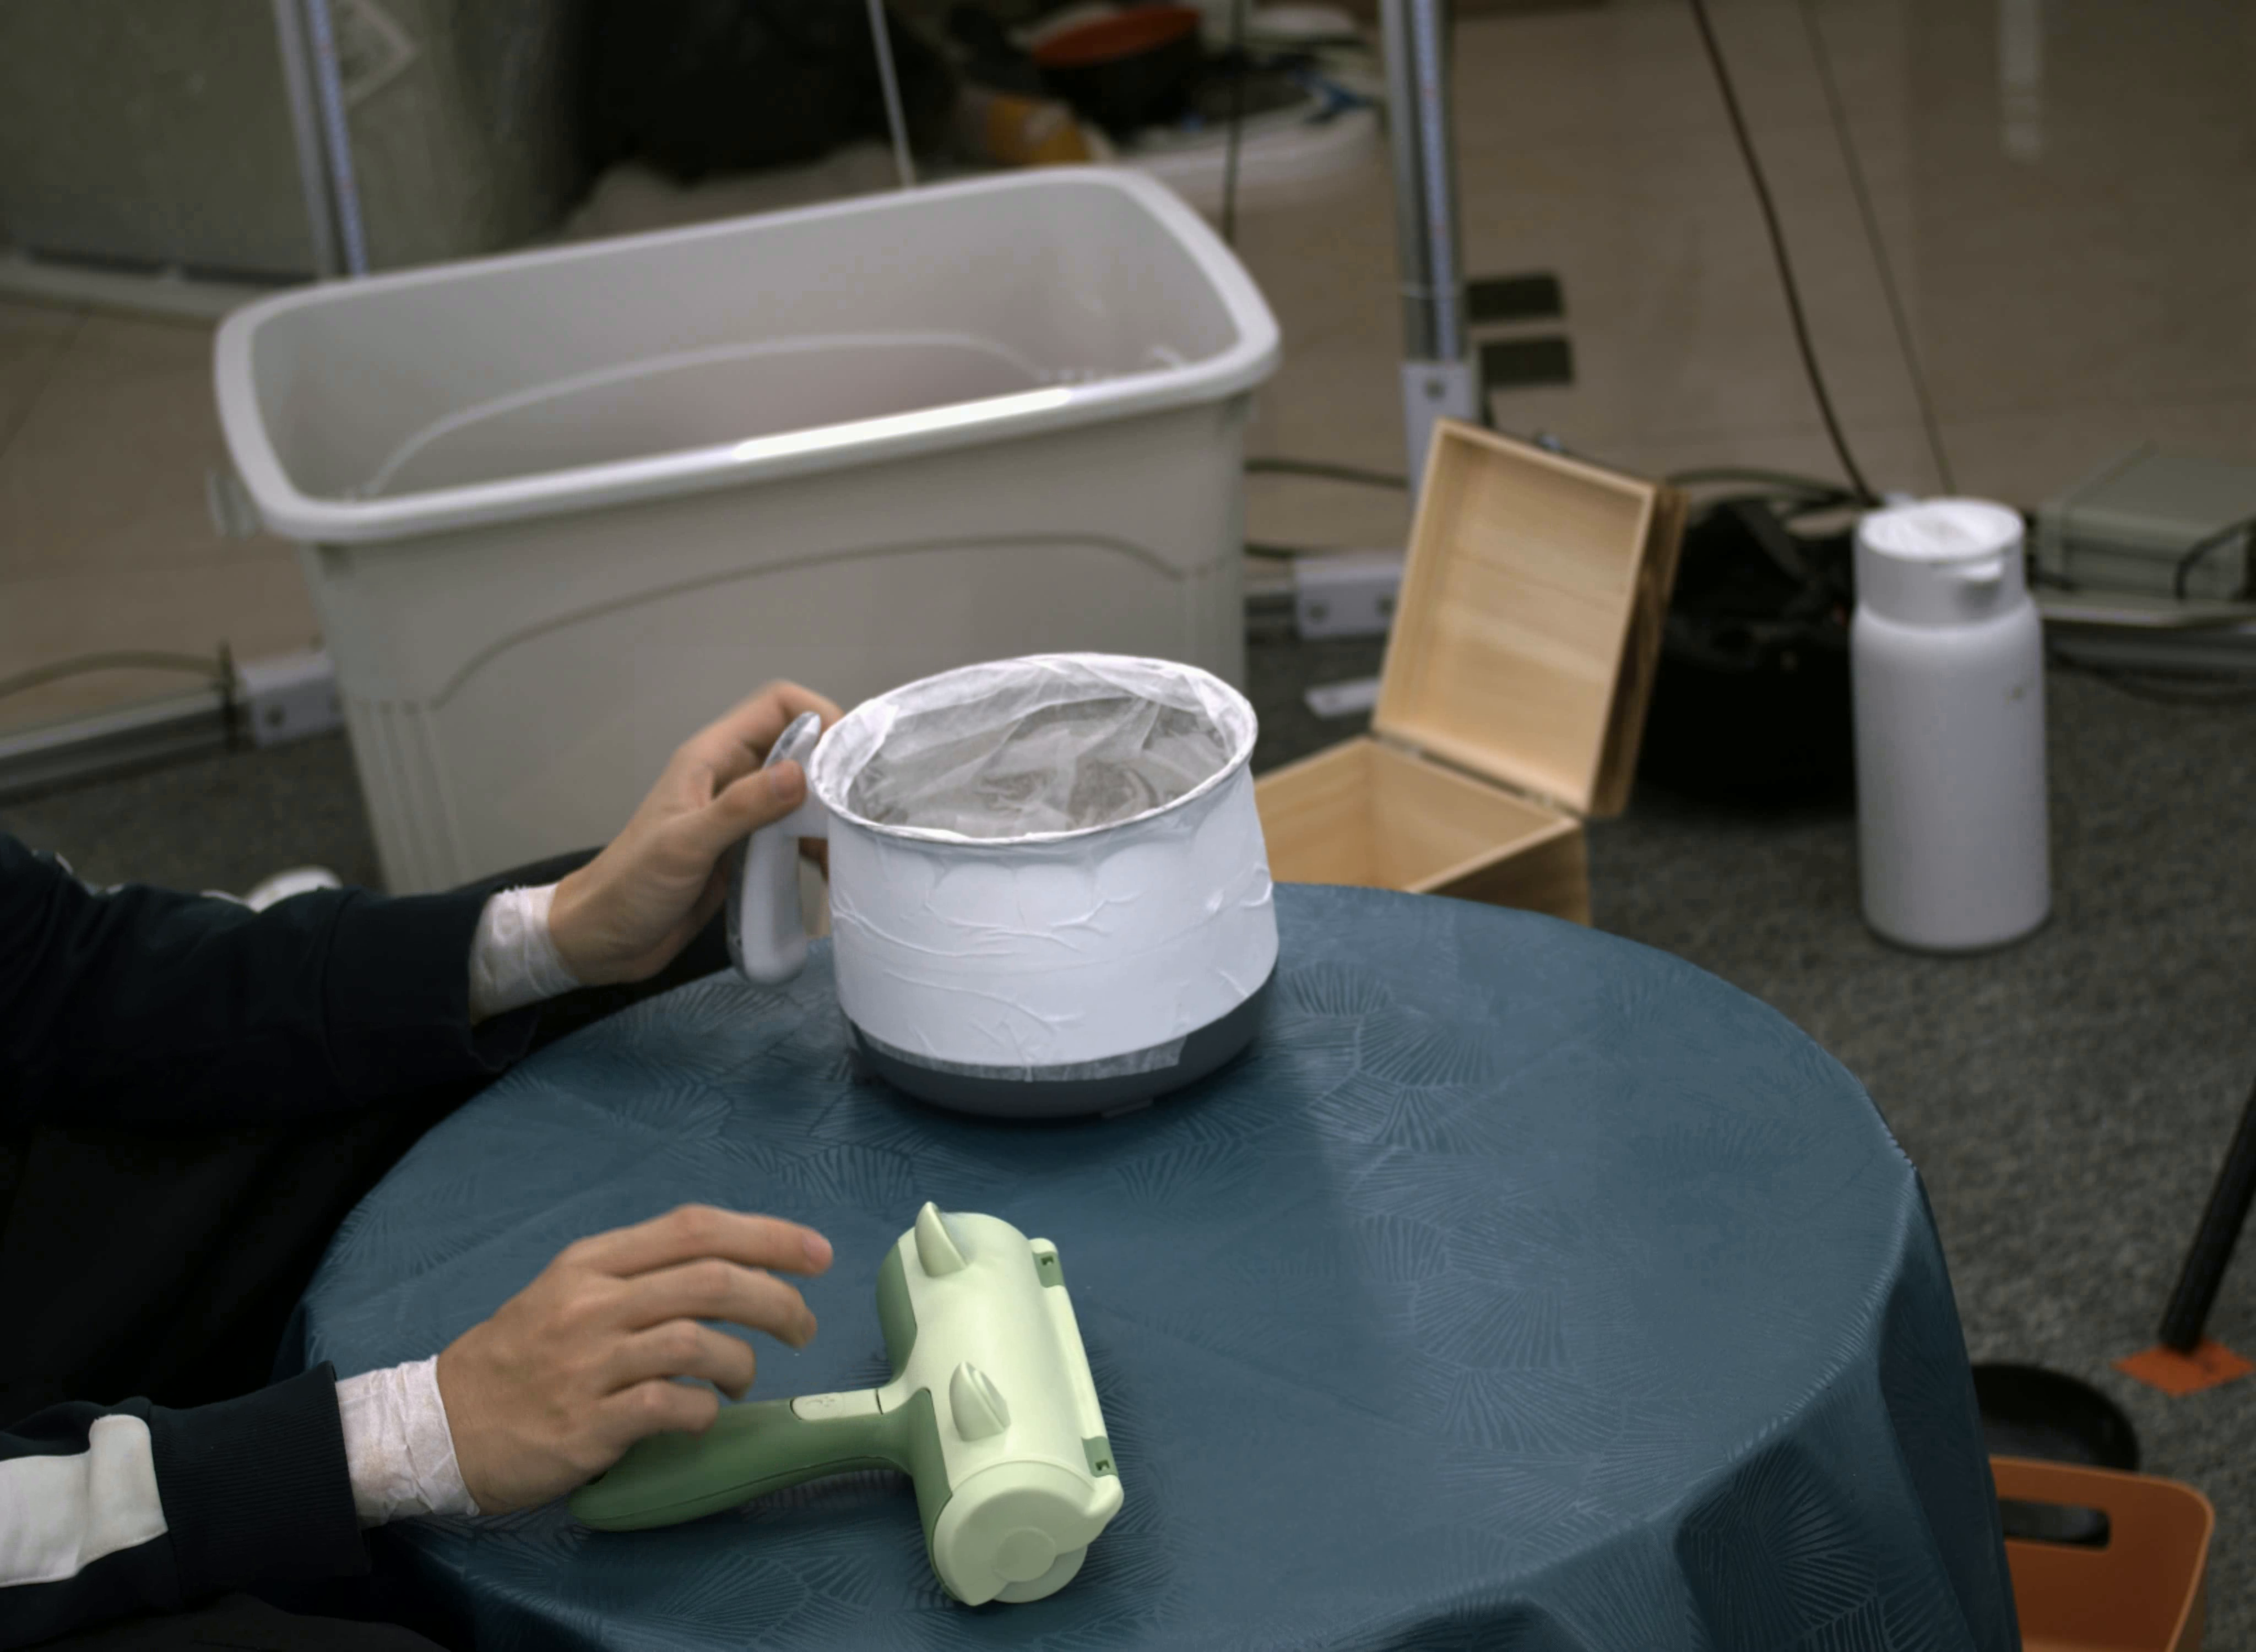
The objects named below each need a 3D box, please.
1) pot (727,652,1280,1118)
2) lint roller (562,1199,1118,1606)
[{"bbox_3d":[-0.056,0.022,2.241,0.233,0.139,0.176,6,27,23],"label":"pot"},{"bbox_3d":[-0.105,0.196,1.957,0.183,0.083,0.196,-4,25,-7],"label":"lint roller"}]
